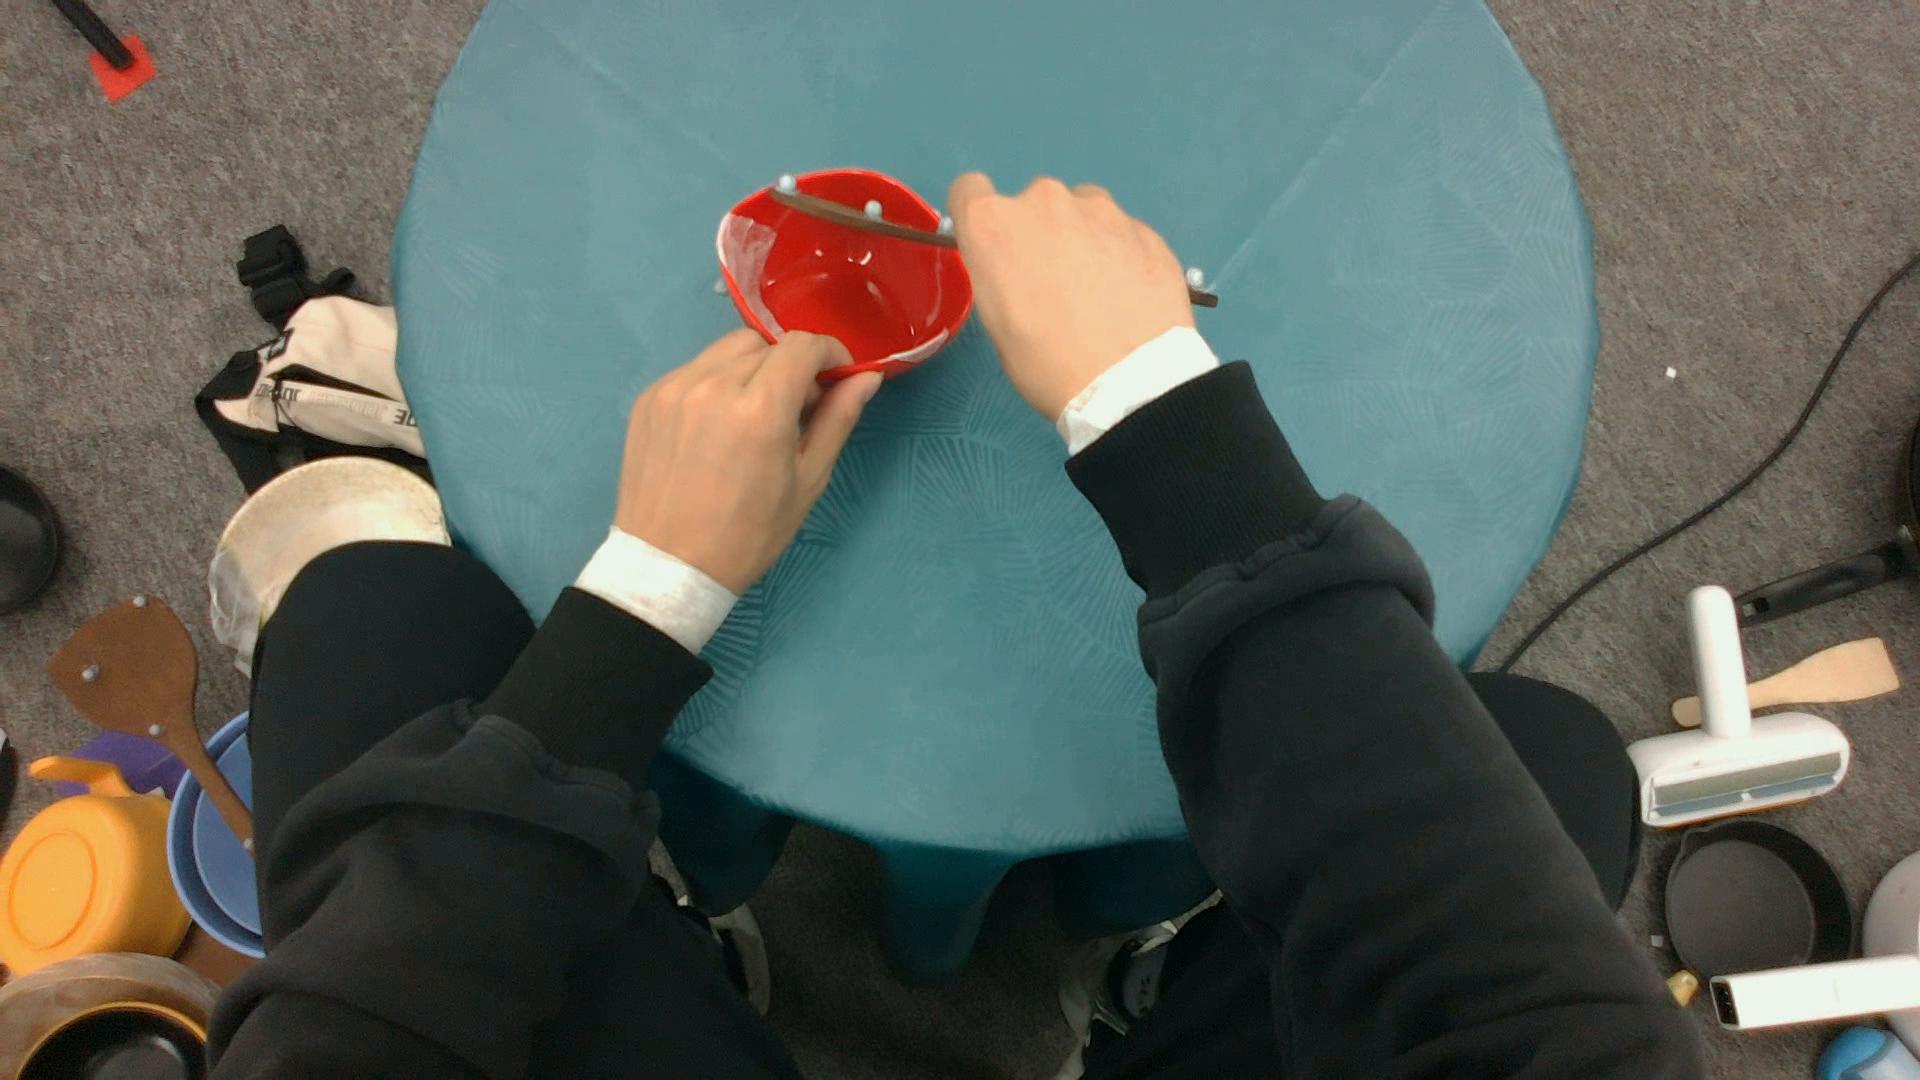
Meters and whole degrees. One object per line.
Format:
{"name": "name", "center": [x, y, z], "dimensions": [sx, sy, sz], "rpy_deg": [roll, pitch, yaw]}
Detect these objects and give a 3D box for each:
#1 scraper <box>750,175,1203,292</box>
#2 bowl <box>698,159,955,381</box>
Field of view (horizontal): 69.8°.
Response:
{"name": "scraper", "center": [0.006, -0.130, 0.589], "dimensions": [0.211, 0.076, 0.011], "rpy_deg": [20, 105, 29]}
{"name": "bowl", "center": [-0.065, -0.118, 0.645], "dimensions": [0.119, 0.051, 0.119], "rpy_deg": [7, 60, -12]}
